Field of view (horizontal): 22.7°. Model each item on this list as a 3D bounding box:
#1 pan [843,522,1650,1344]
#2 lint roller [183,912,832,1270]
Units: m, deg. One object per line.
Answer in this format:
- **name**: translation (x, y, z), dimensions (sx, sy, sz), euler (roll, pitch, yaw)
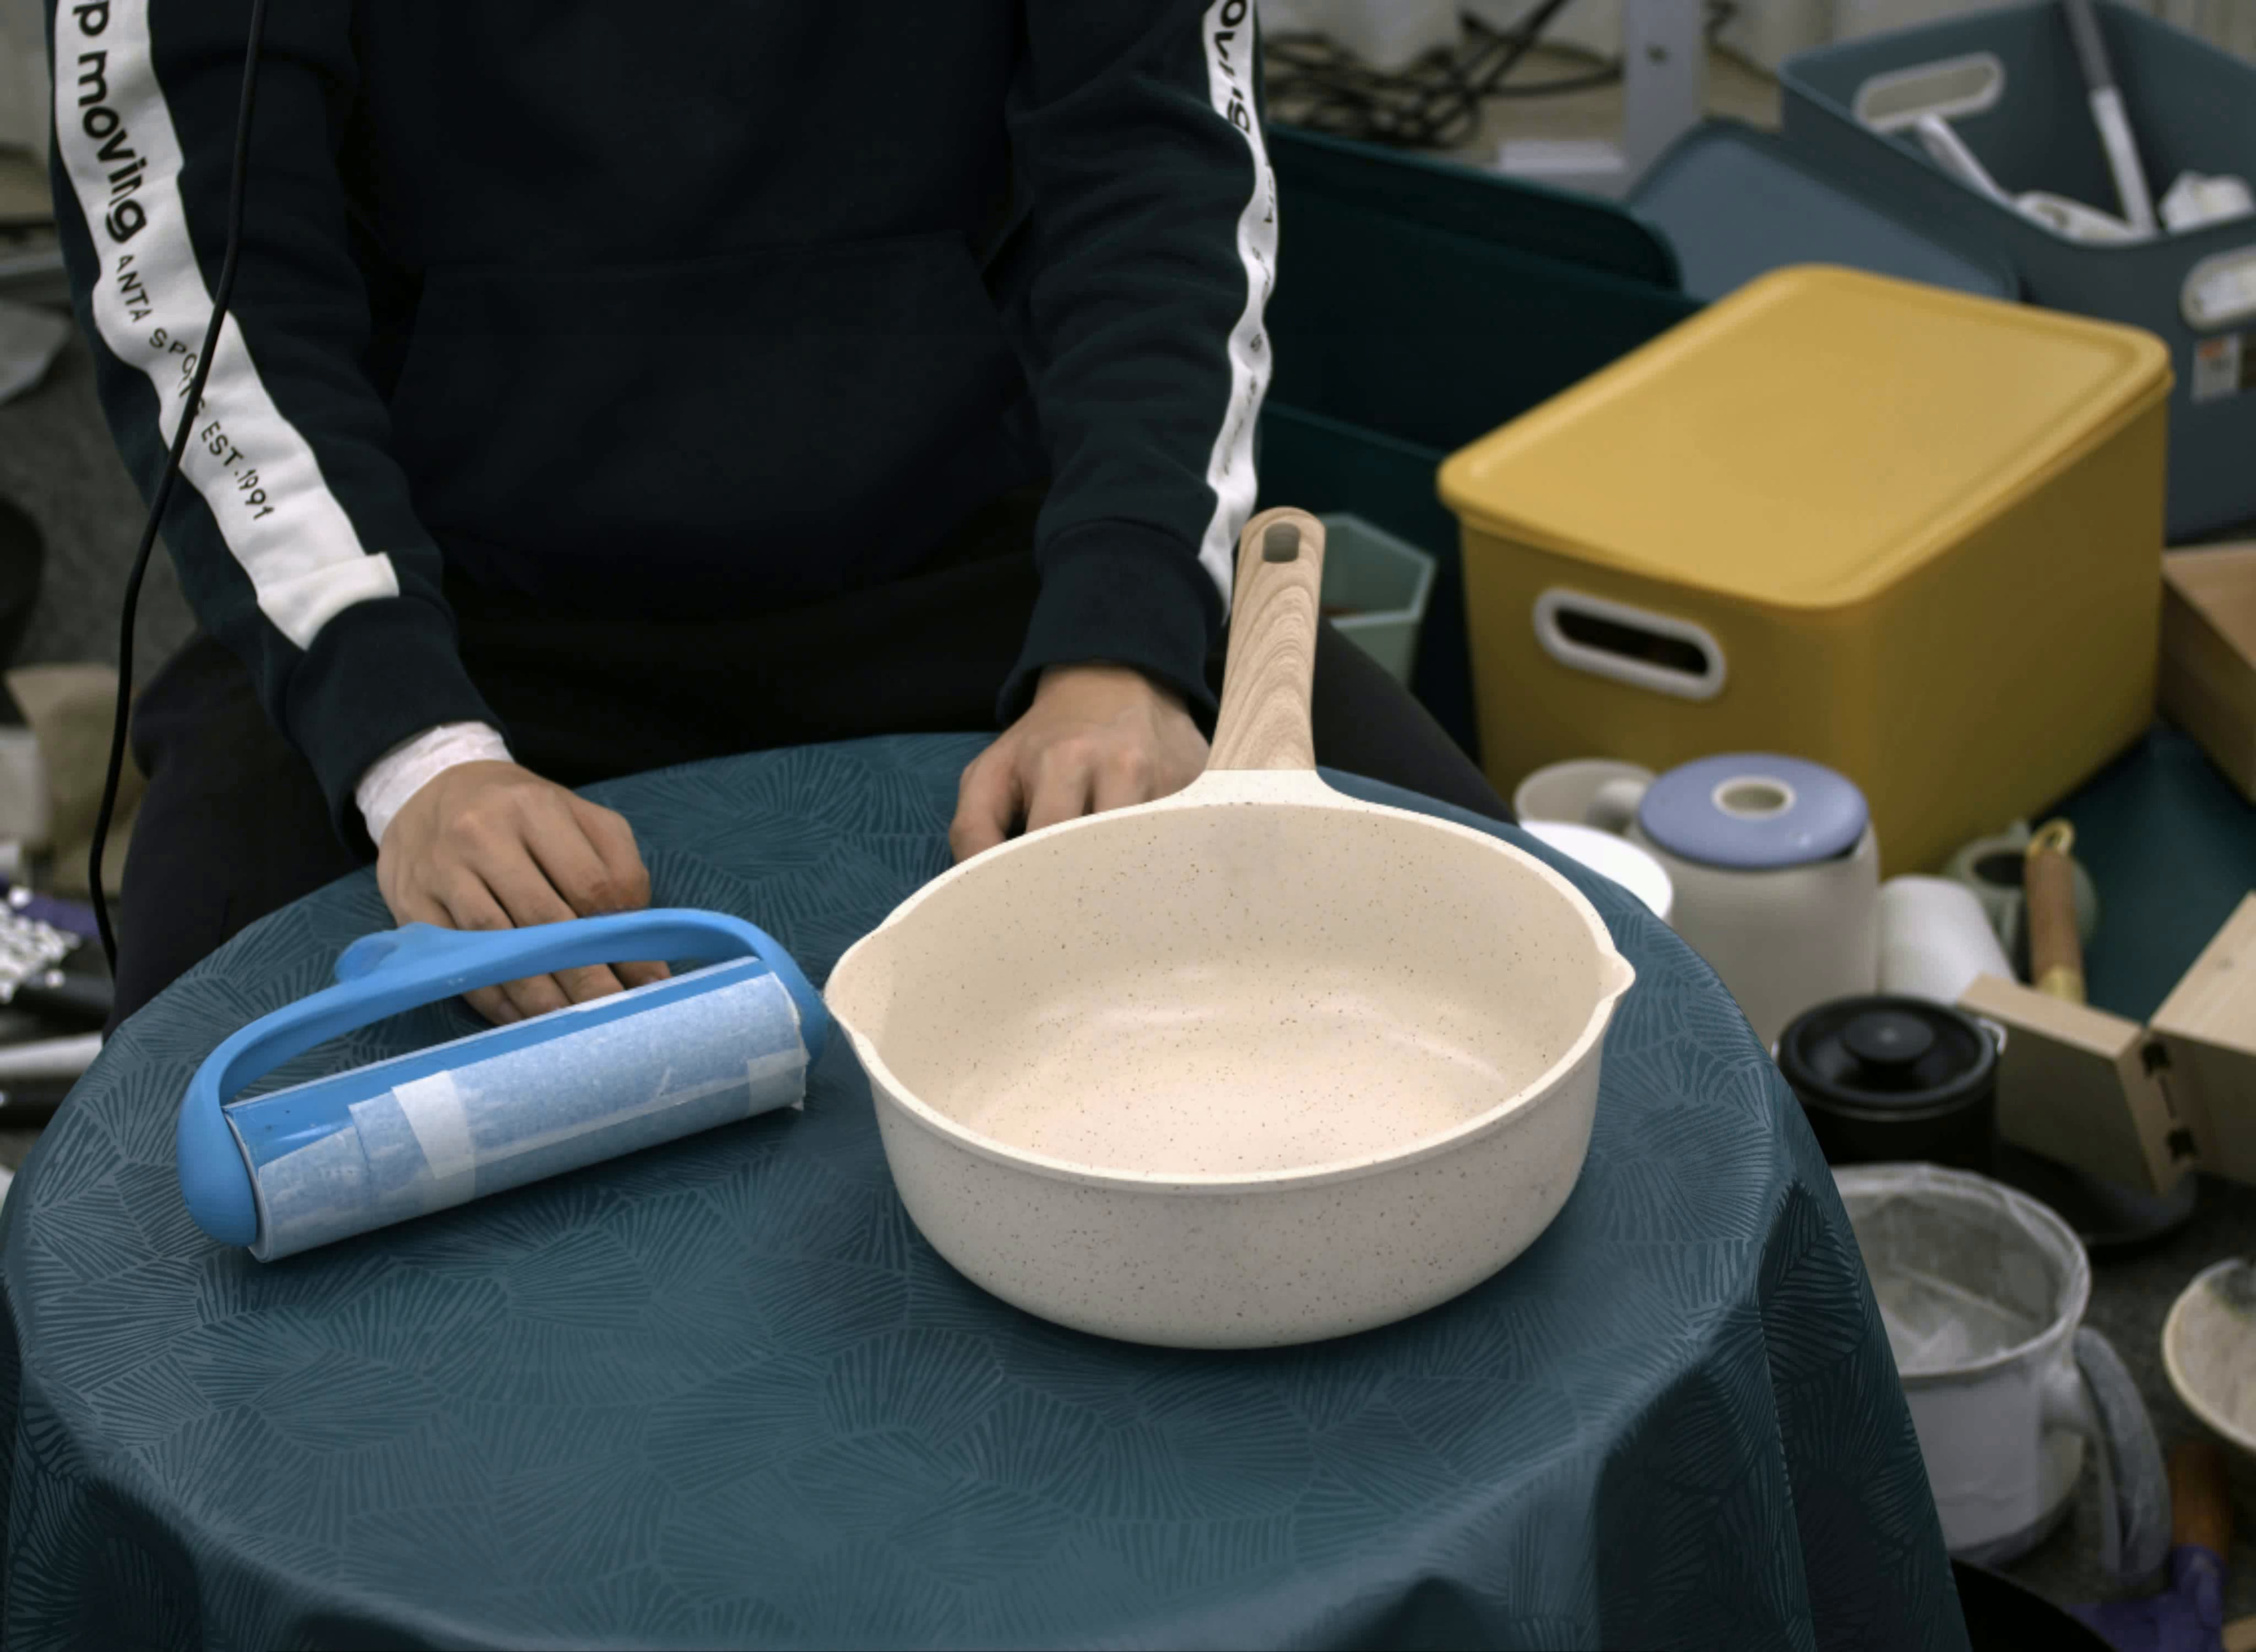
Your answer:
- **pan**: translation (0.046, 0.033, 1.918), dimensions (0.262, 0.101, 0.442), euler (-2, 27, 5)
- **lint roller**: translation (-0.234, 0.071, 1.920), dimensions (0.230, 0.067, 0.181), euler (-19, 32, -25)
